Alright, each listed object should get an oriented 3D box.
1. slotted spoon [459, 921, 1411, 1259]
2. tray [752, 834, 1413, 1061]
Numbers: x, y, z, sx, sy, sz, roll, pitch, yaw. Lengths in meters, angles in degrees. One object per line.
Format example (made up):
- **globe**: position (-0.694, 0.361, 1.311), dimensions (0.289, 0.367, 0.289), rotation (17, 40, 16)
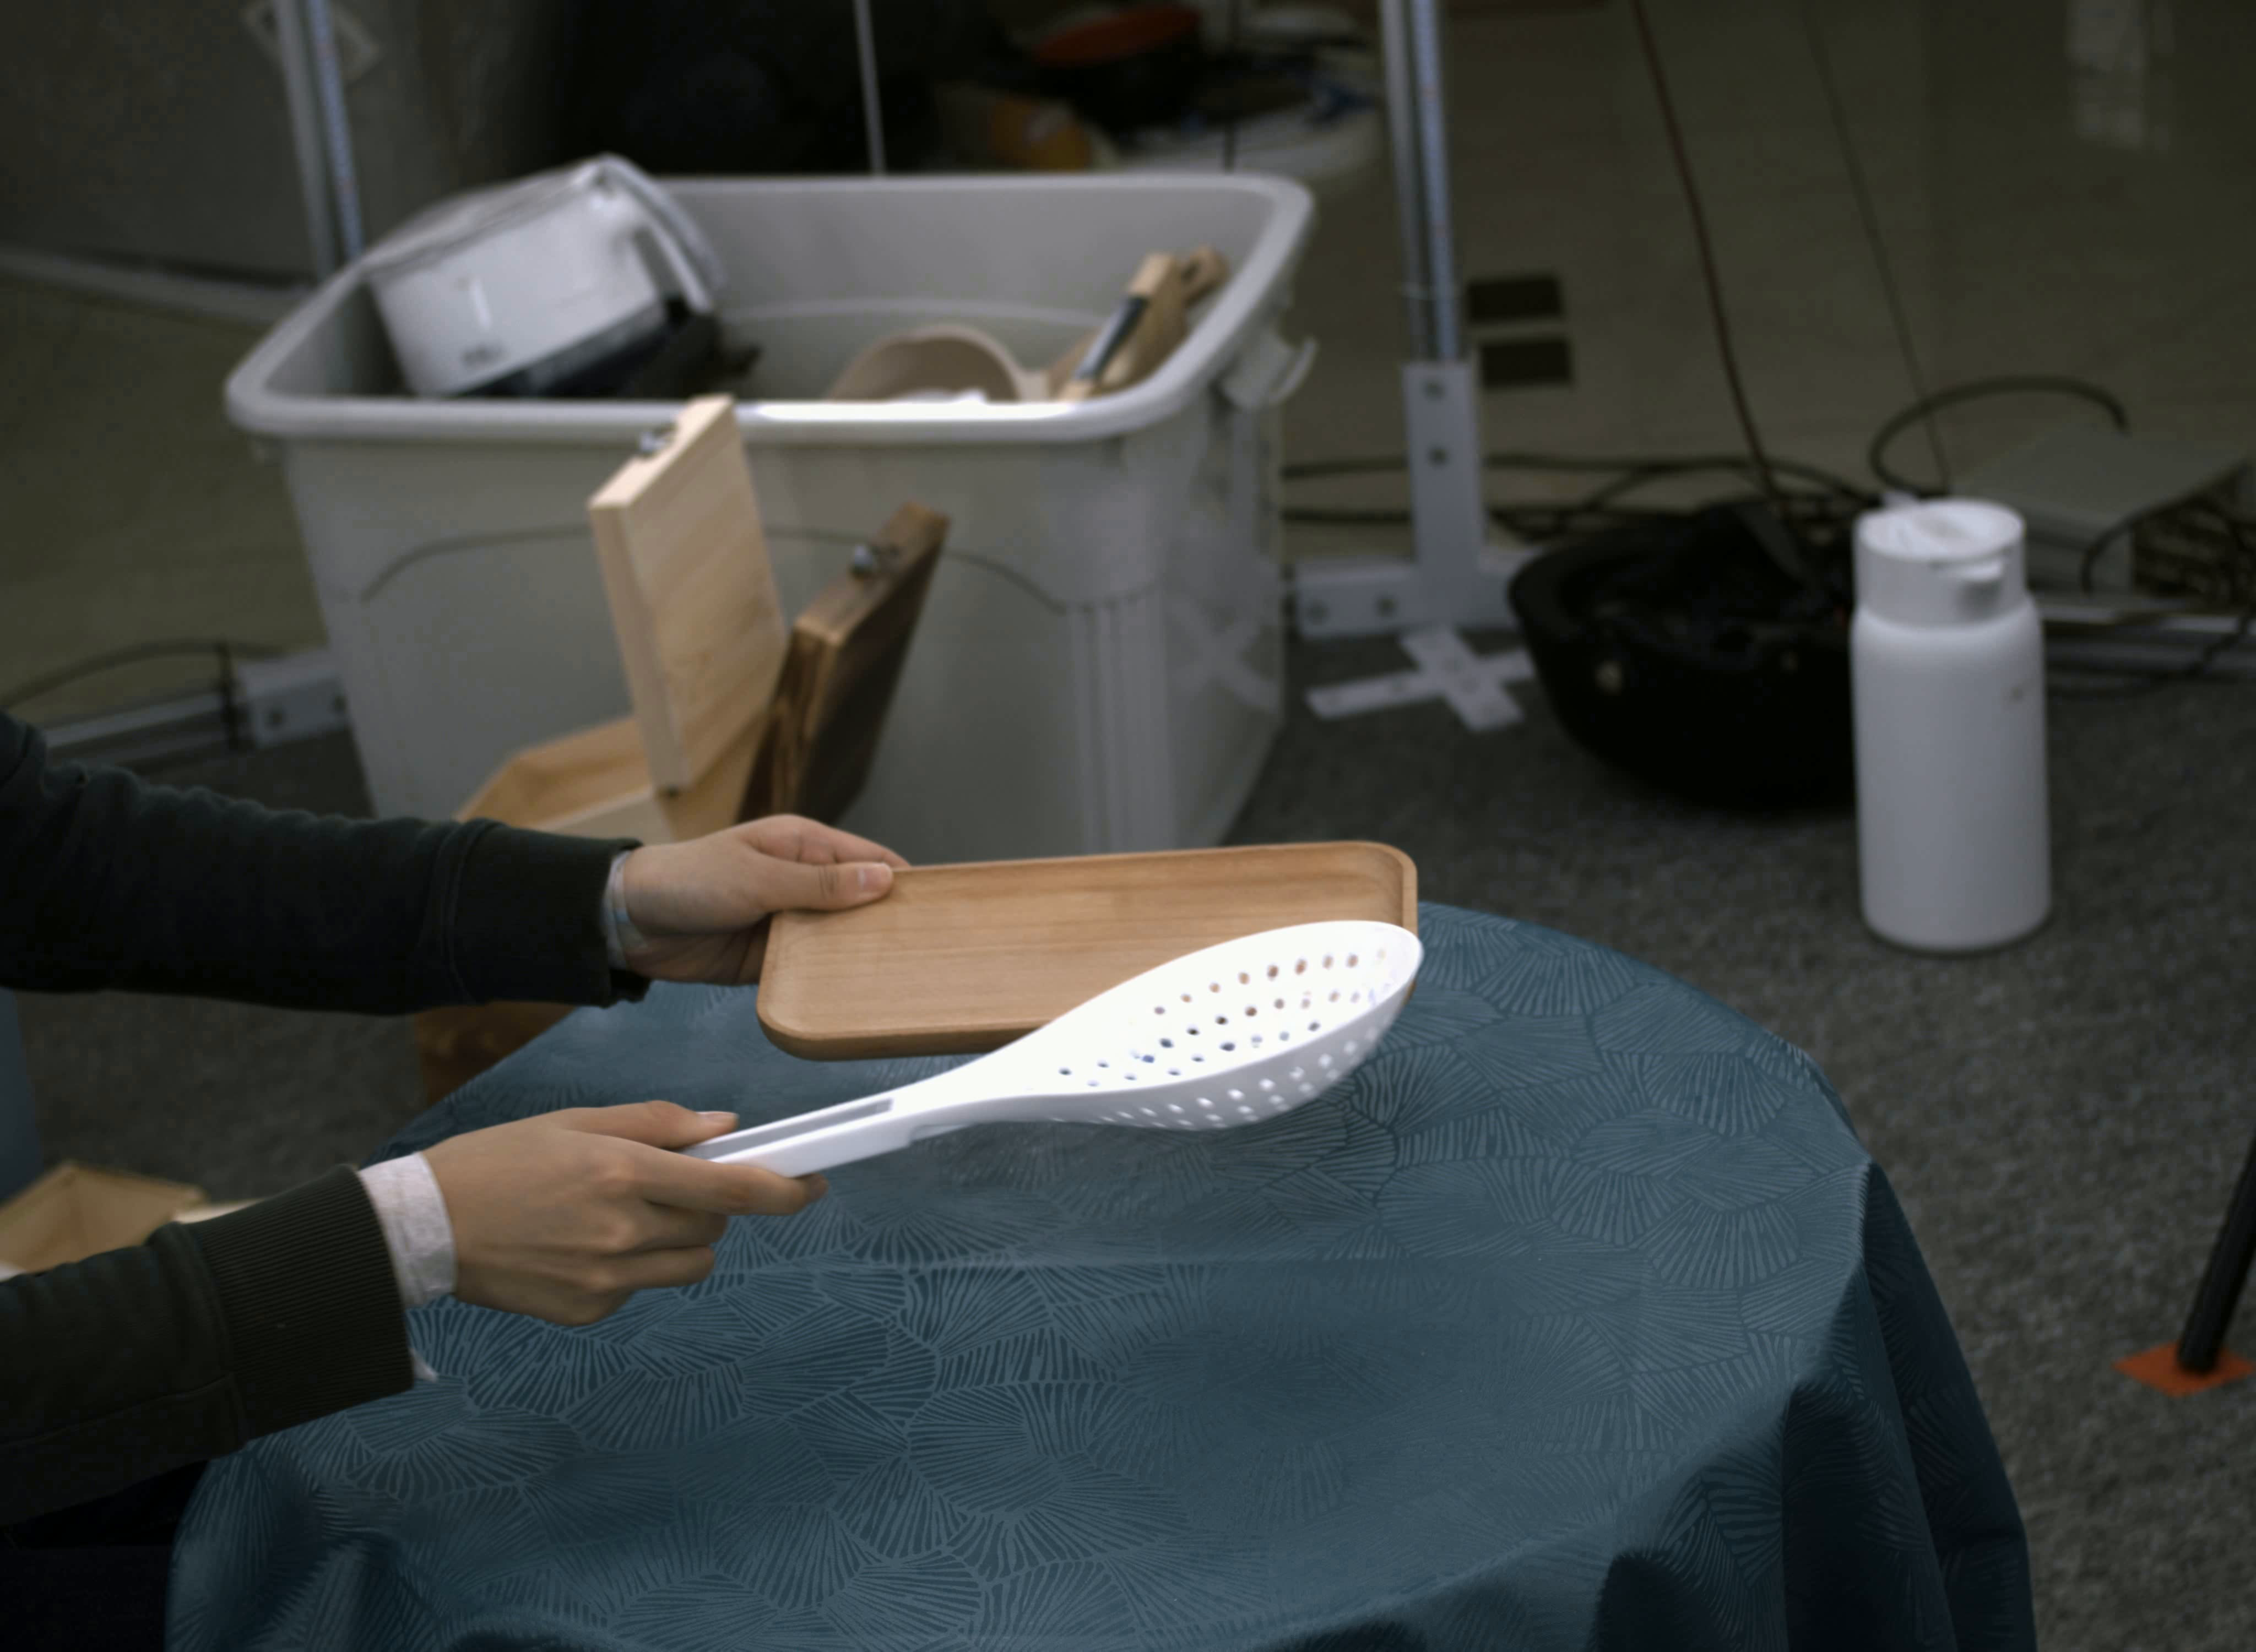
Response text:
- **slotted spoon**: position (-0.068, 0.096, 1.976), dimensions (0.349, 0.046, 0.134), rotation (-11, 15, 7)
- **tray**: position (-0.016, 0.047, 2.160), dimensions (0.250, 0.023, 0.128), rotation (-4, 28, 6)
